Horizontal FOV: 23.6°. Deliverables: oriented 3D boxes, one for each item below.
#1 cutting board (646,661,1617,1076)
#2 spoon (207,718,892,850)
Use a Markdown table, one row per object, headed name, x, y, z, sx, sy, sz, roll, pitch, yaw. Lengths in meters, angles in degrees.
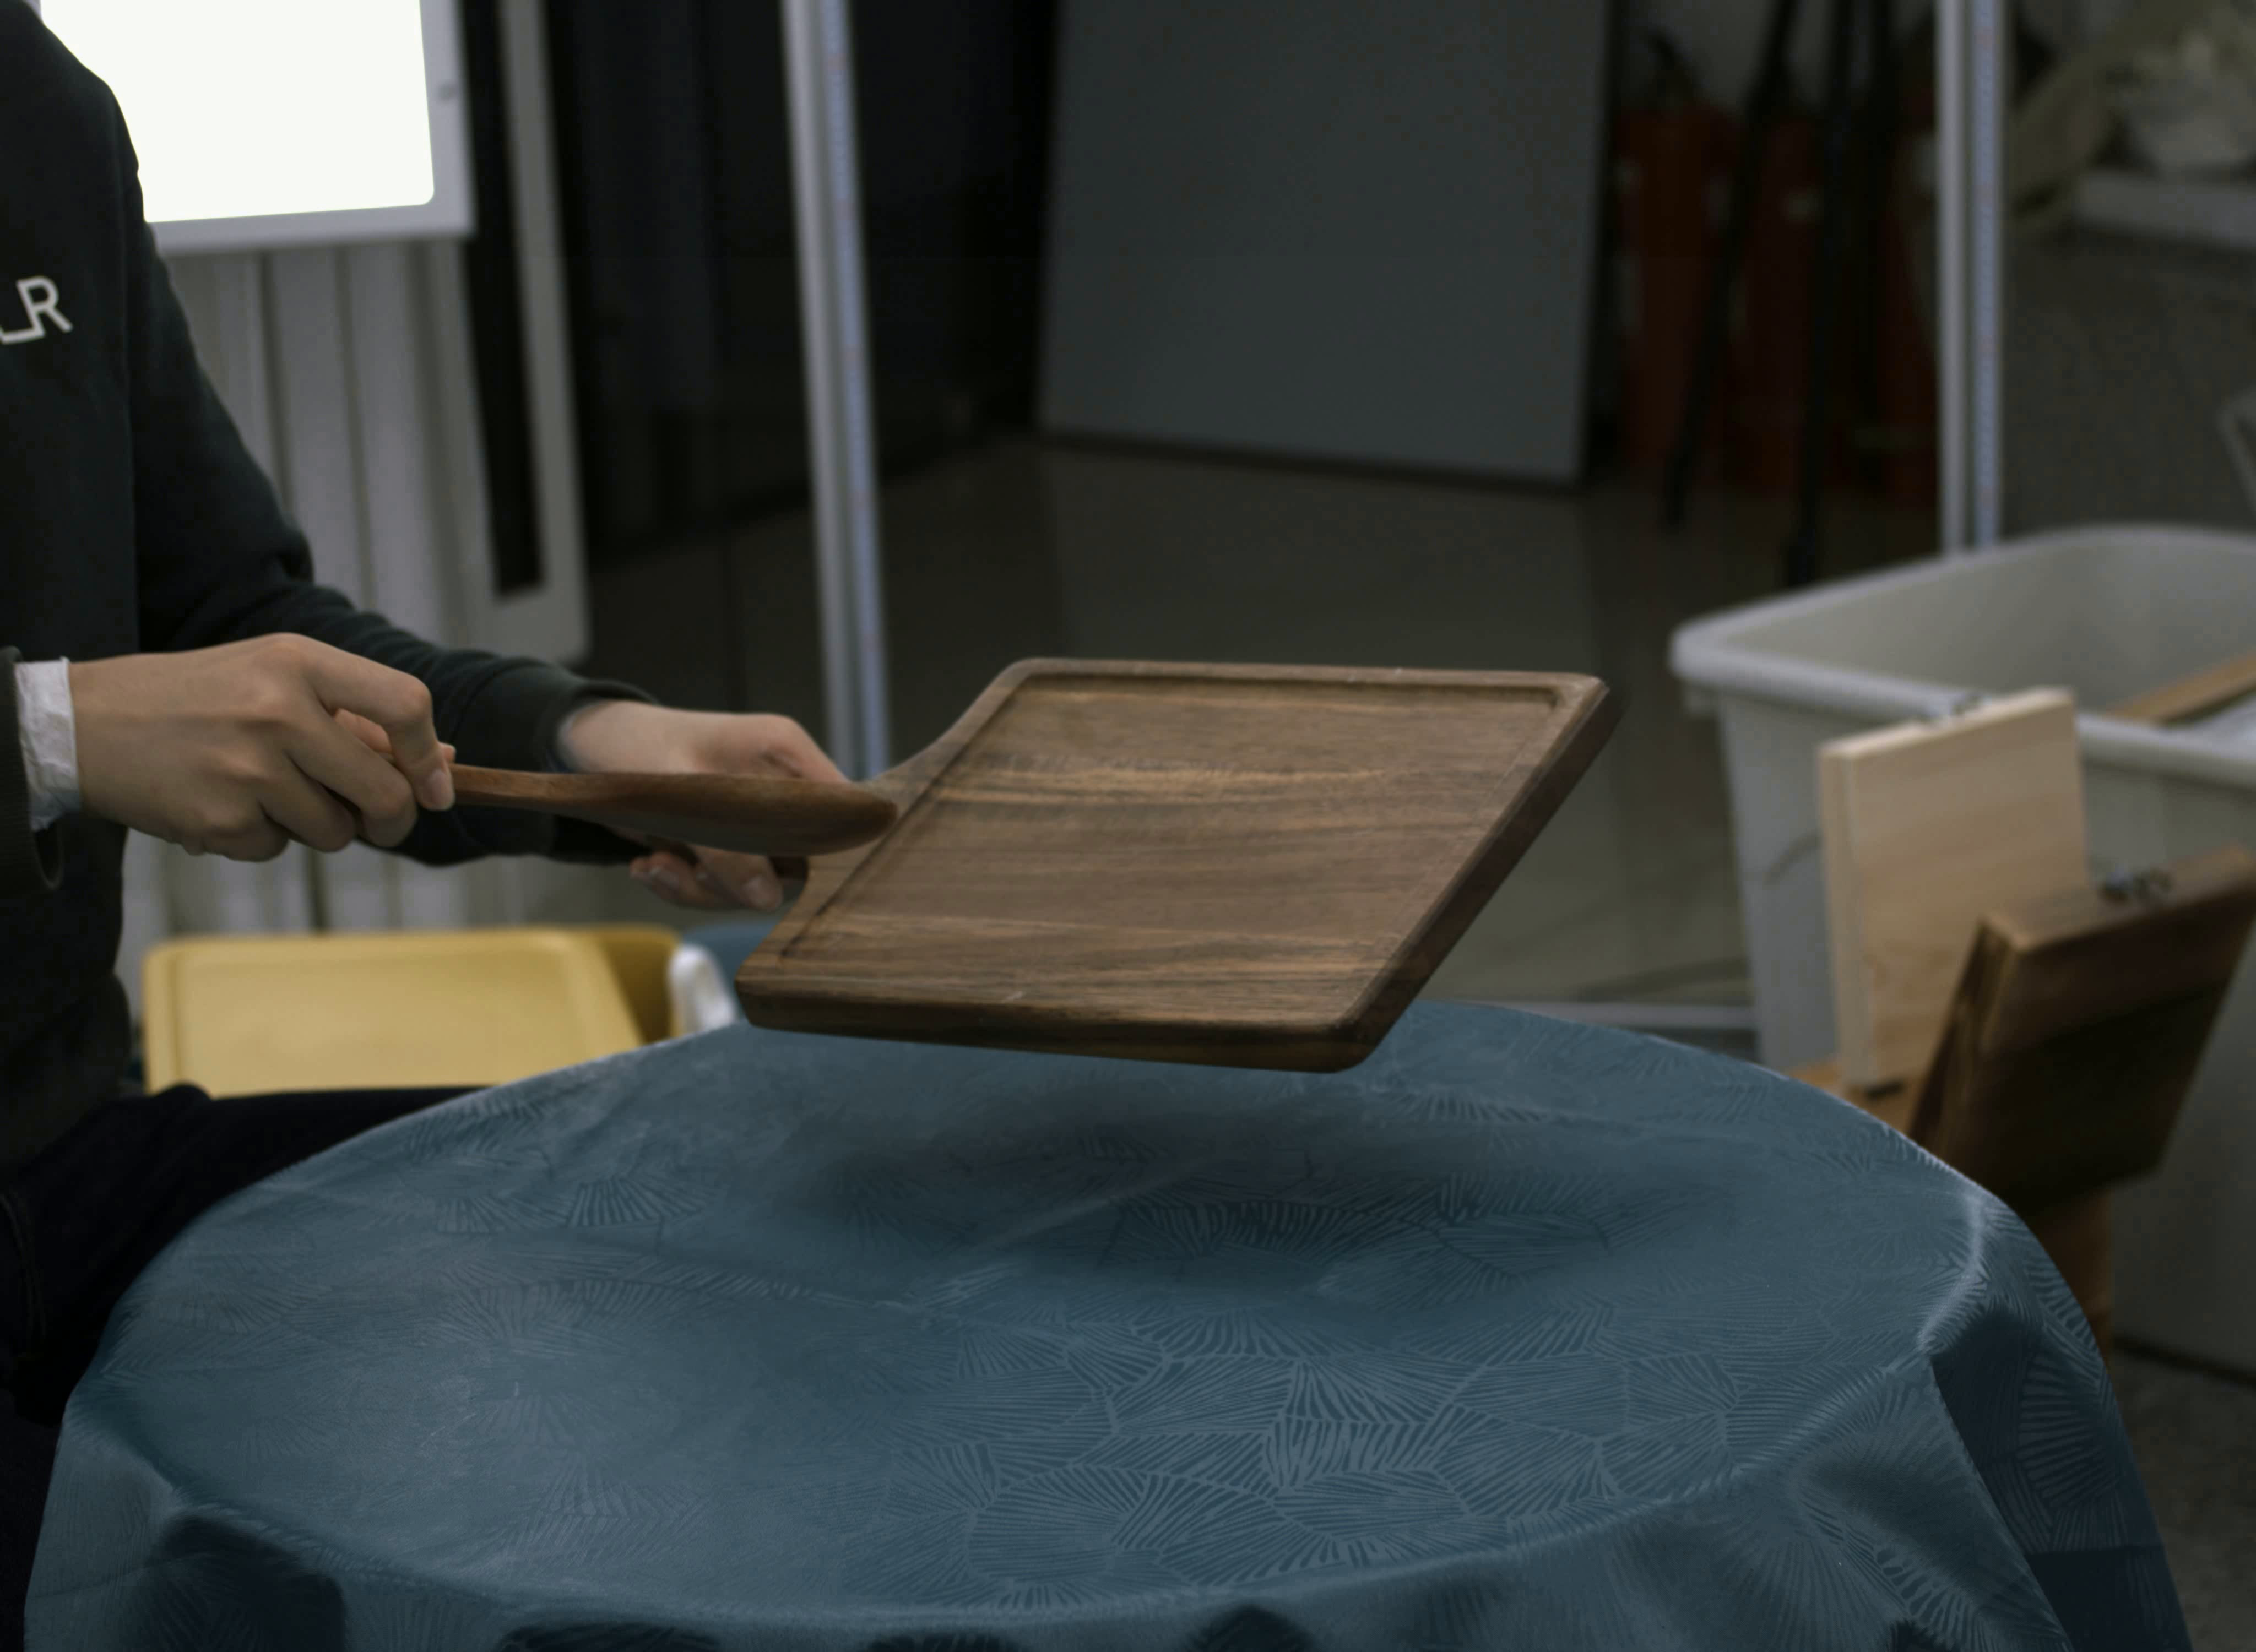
| name | x | y | z | sx | sy | sz | roll | pitch | yaw |
| --- | --- | --- | --- | --- | --- | --- | --- | --- | --- |
| cutting board | -0.023 | 0.008 | 1.816 | 0.354 | 0.023 | 0.199 | 2 | 38 | 37 |
| spoon | -0.180 | -0.011 | 1.692 | 0.212 | 0.017 | 0.076 | 7 | -9 | -7 |
